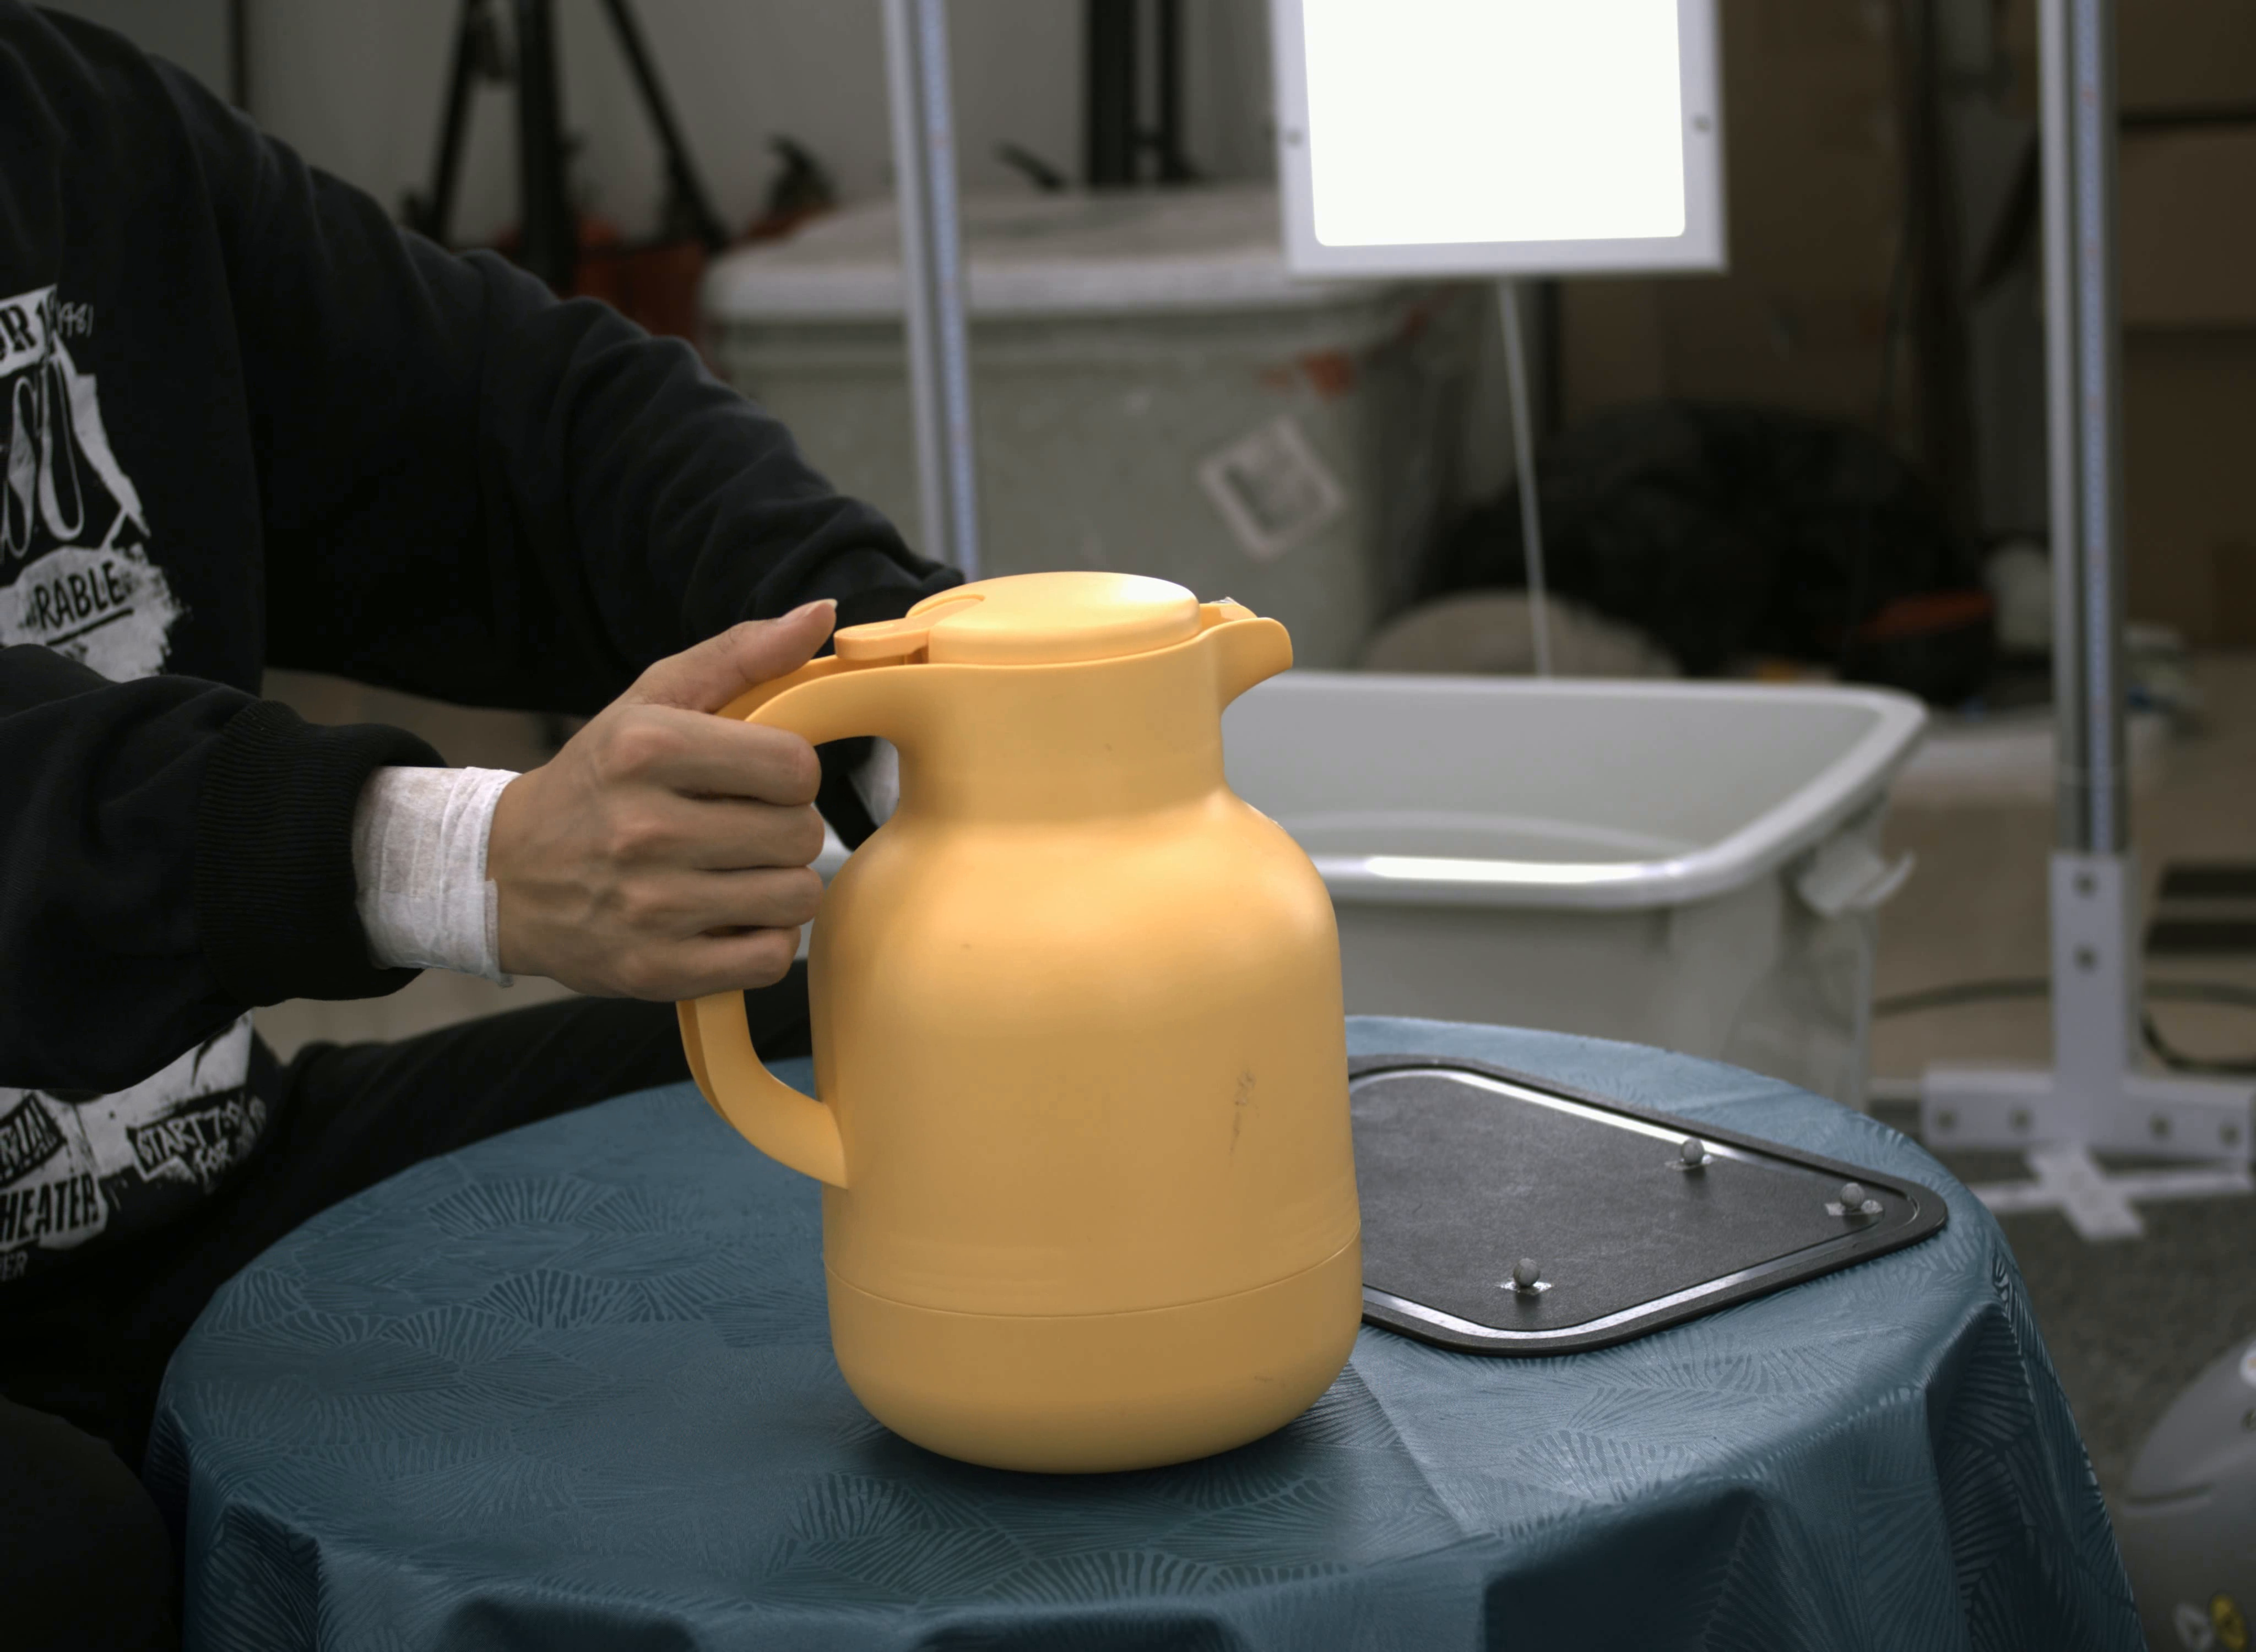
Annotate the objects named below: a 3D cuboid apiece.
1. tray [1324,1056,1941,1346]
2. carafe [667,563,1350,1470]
[{"bbox_3d":[0.107,0.121,1.868,0.206,0.010,0.332,-14,16,-33],"label":"tray"},{"bbox_3d":[-0.036,0.055,1.646,0.199,0.261,0.165,-5,10,-15],"label":"carafe"}]
